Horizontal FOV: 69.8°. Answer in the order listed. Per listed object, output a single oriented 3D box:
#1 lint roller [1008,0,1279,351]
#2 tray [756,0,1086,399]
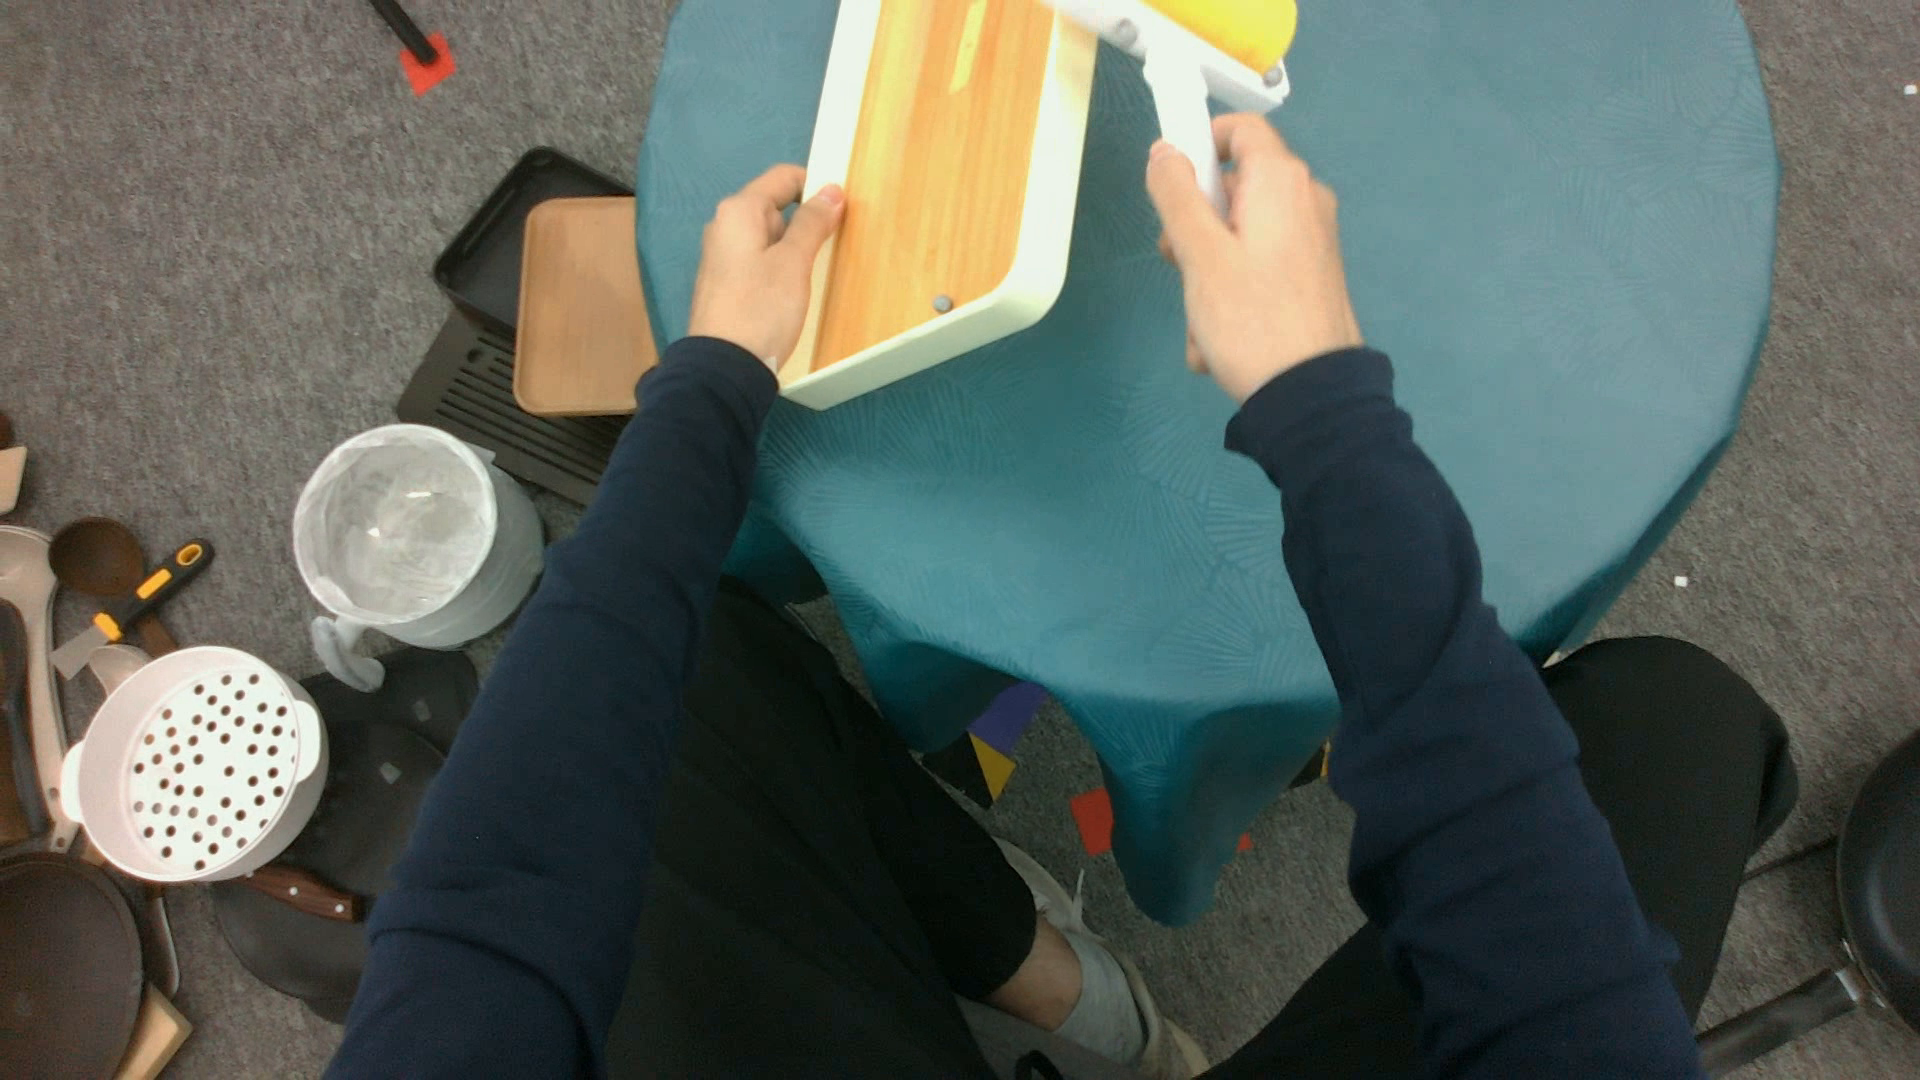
[{"bbox_3d":[0.093,-0.171,0.561,0.051,0.174,0.192,-34,64,37],"label":"lint roller"},{"bbox_3d":[-0.013,-0.225,0.662,0.027,0.191,0.301,23,67,-35],"label":"tray"}]
